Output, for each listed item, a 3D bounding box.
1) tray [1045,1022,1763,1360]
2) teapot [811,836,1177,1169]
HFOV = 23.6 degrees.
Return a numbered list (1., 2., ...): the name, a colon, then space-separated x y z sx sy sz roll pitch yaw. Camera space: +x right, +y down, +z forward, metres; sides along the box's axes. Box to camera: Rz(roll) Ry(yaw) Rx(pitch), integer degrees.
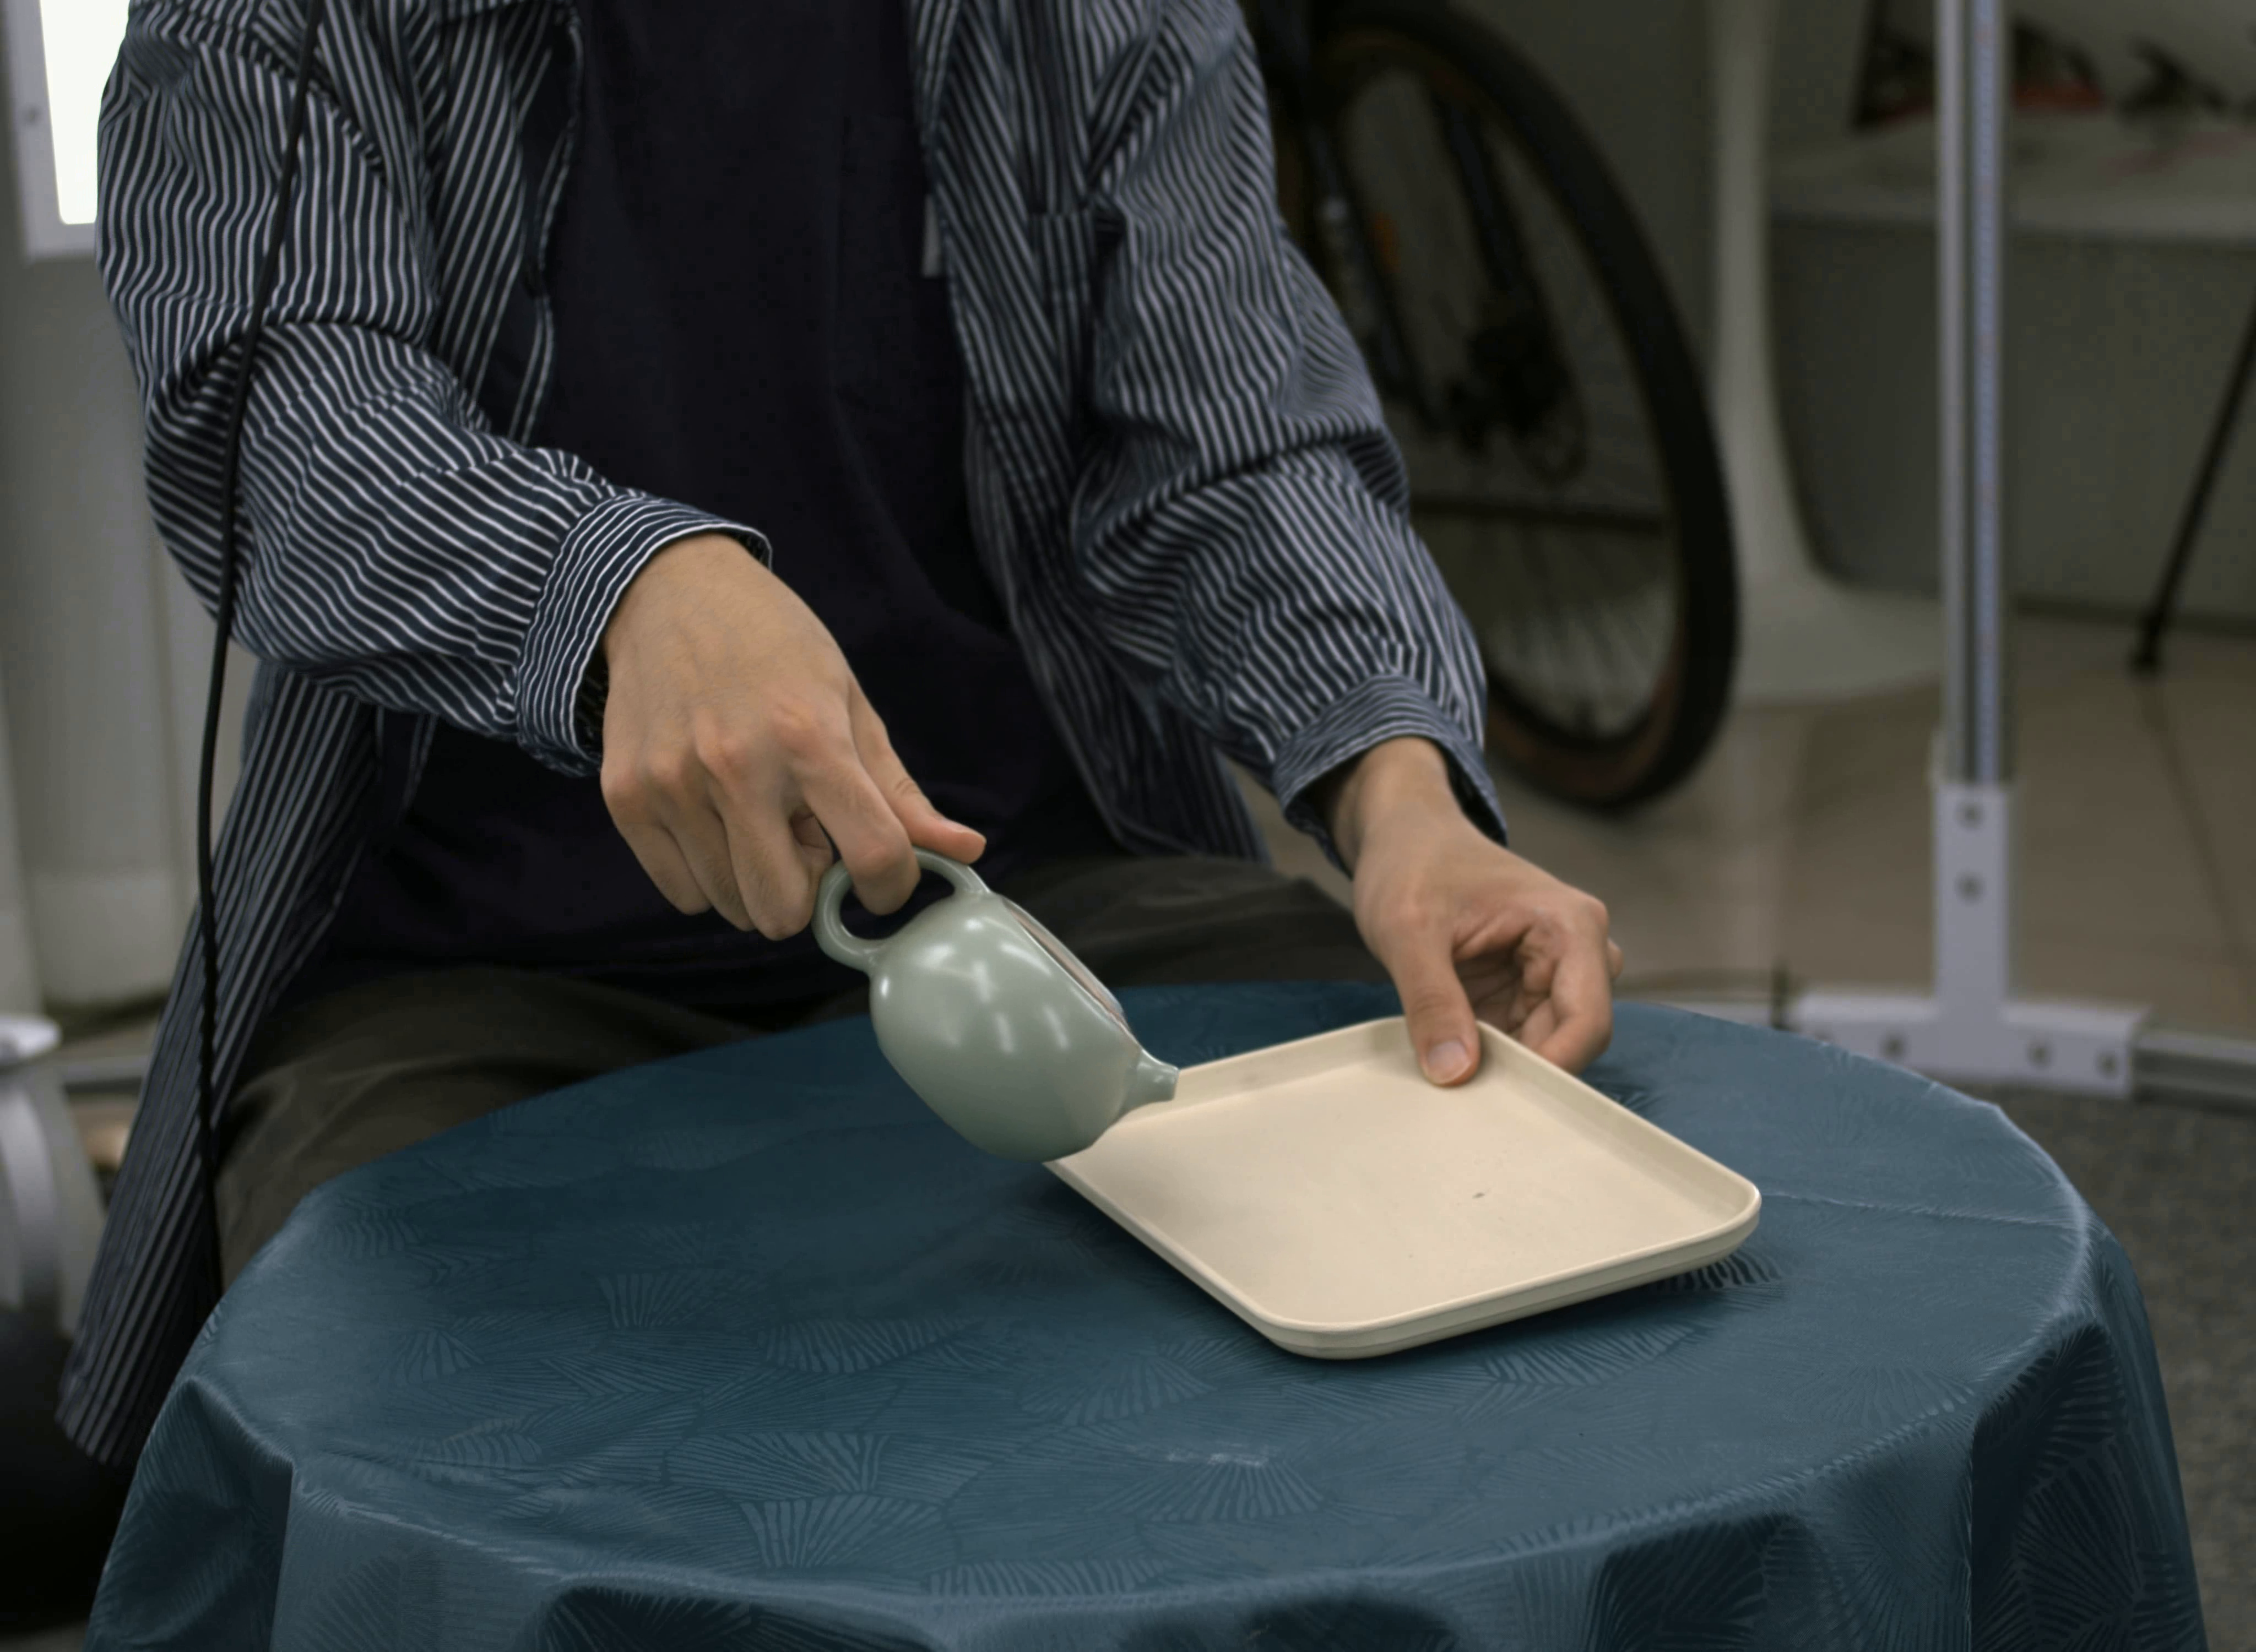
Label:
1. tray: 0.082 0.114 1.708 0.168 0.017 0.242 -13 18 -20
2. teapot: -0.046 0.057 1.678 0.061 0.128 0.091 -45 -1 6
